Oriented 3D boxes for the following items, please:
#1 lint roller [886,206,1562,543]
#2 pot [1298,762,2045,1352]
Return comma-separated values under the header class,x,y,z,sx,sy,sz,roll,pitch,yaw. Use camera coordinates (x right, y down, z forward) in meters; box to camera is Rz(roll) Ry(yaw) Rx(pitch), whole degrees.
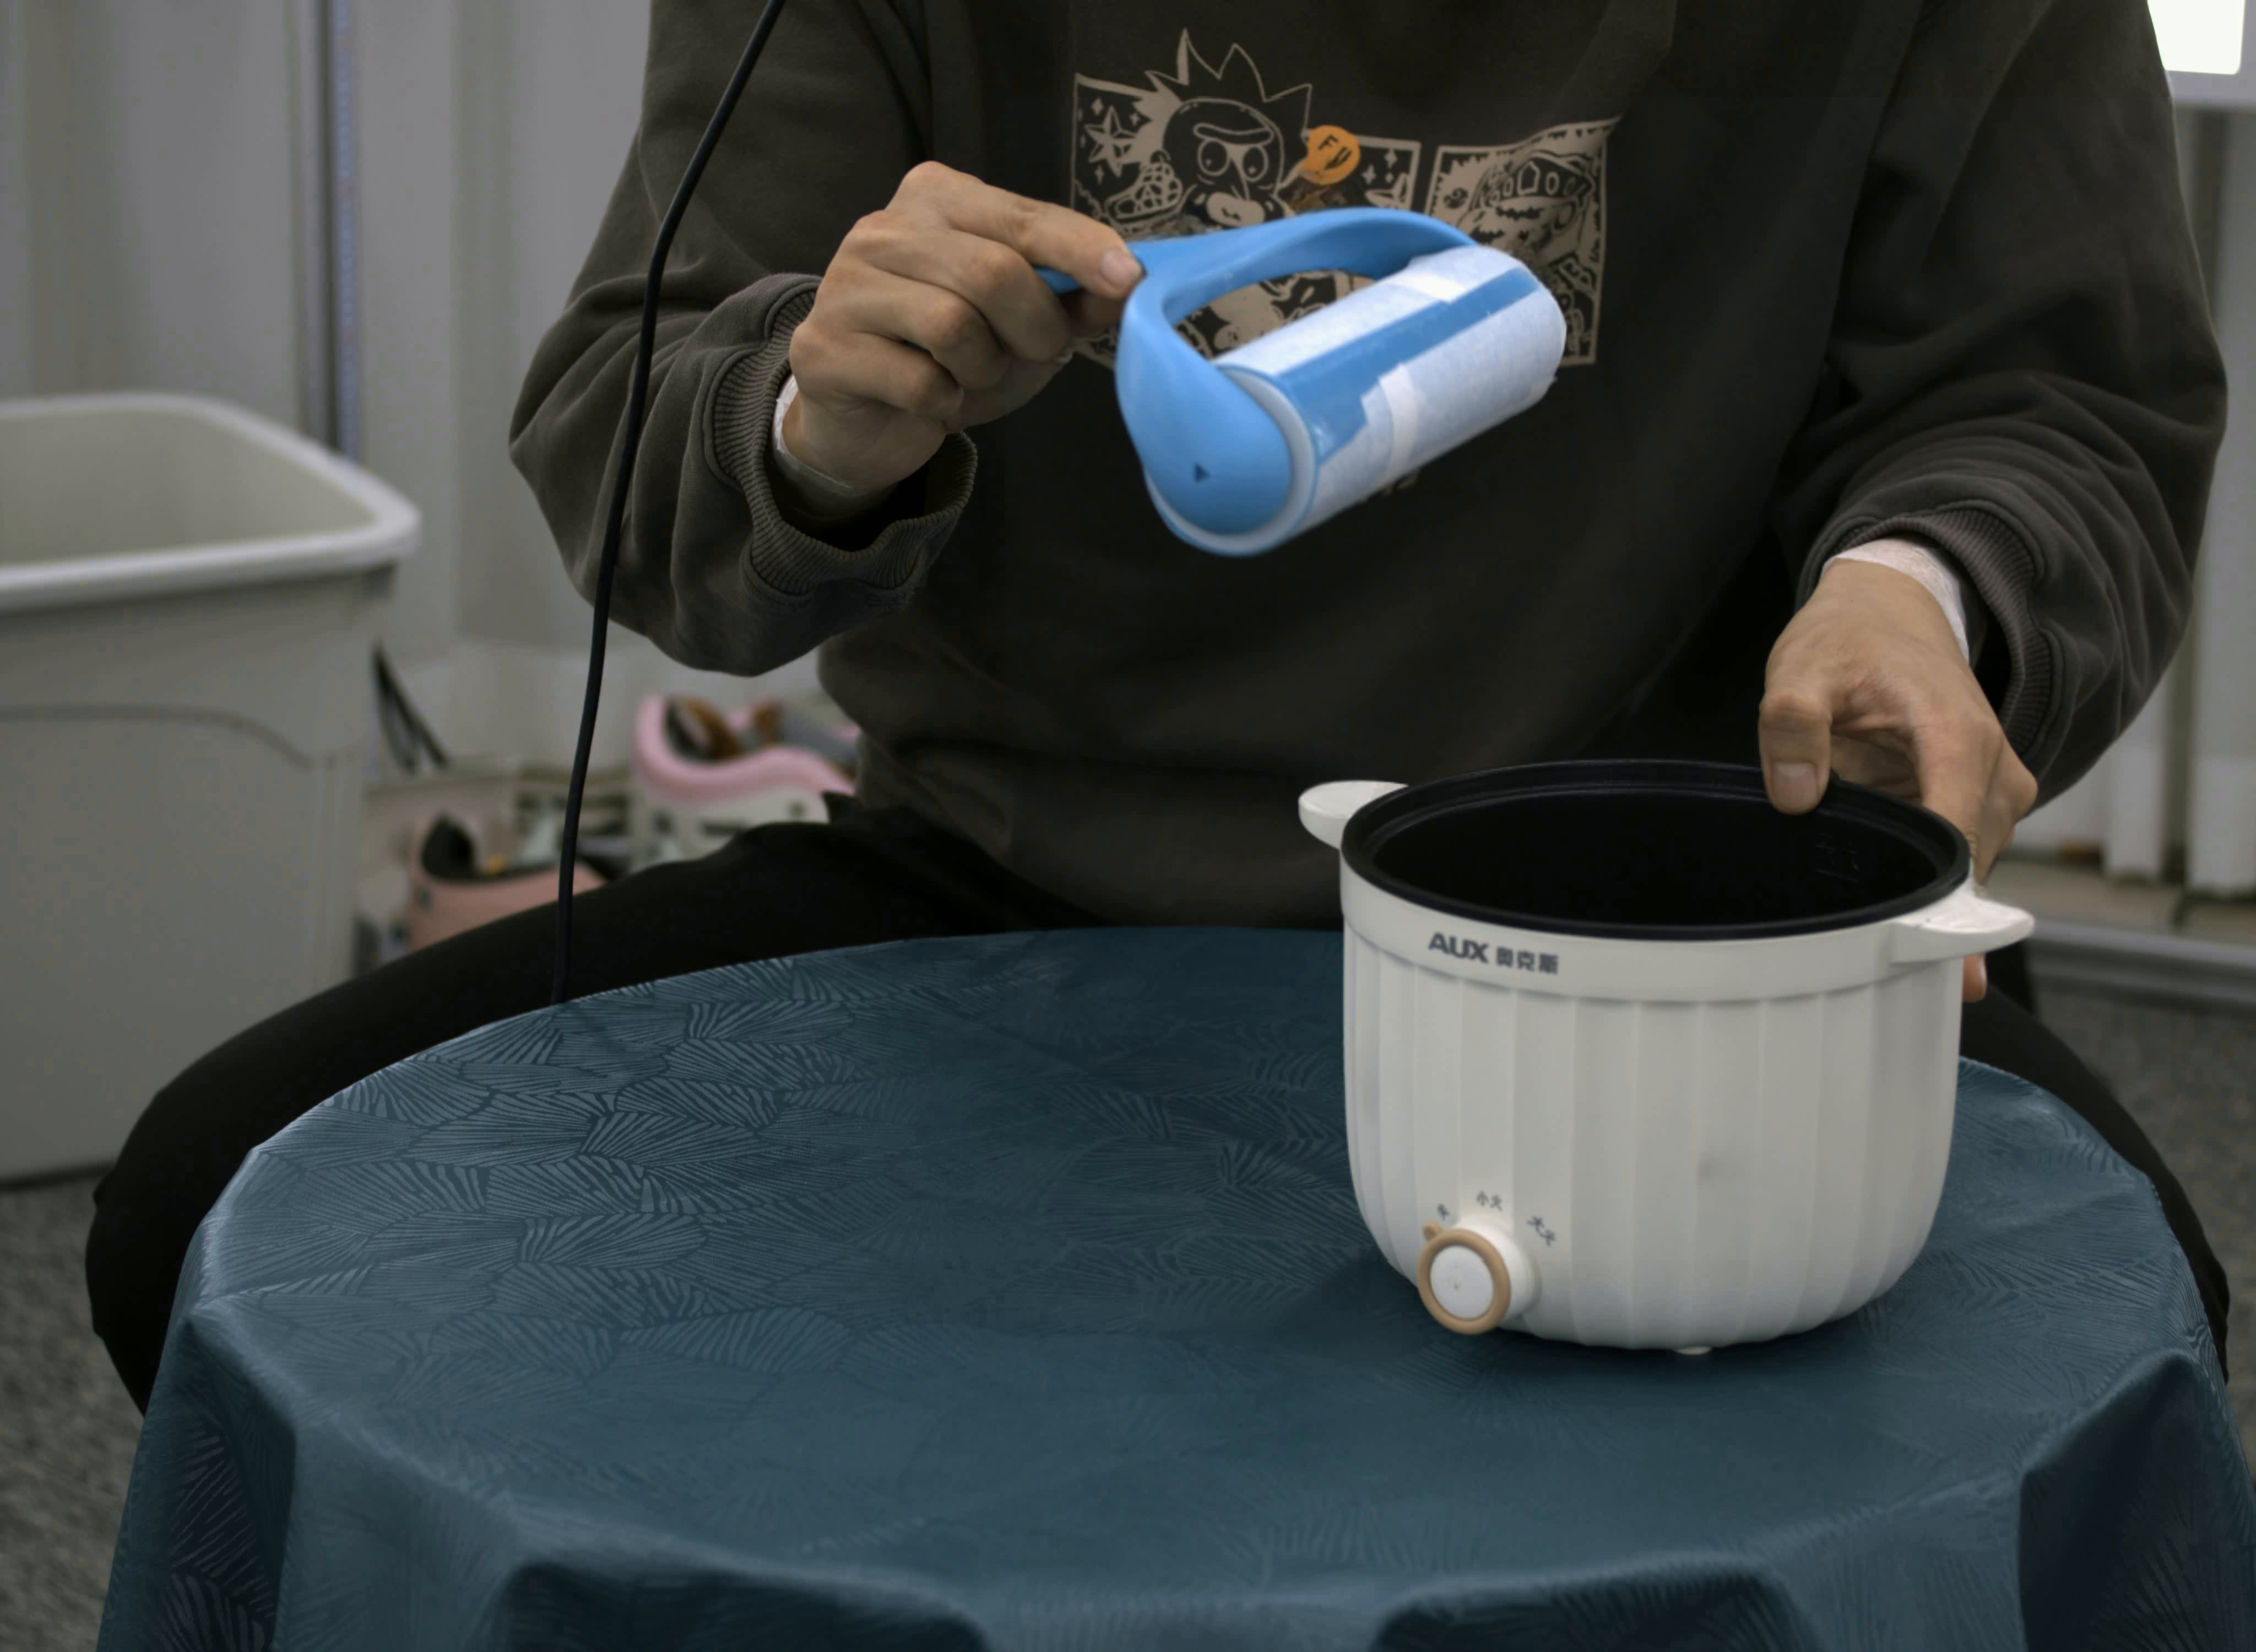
class,x,y,z,sx,sy,sz,roll,pitch,yaw
lint roller,0.012,-0.139,1.525,0.178,0.068,0.229,13,21,19
pot,0.150,0.069,1.532,0.237,0.143,0.191,9,15,33
